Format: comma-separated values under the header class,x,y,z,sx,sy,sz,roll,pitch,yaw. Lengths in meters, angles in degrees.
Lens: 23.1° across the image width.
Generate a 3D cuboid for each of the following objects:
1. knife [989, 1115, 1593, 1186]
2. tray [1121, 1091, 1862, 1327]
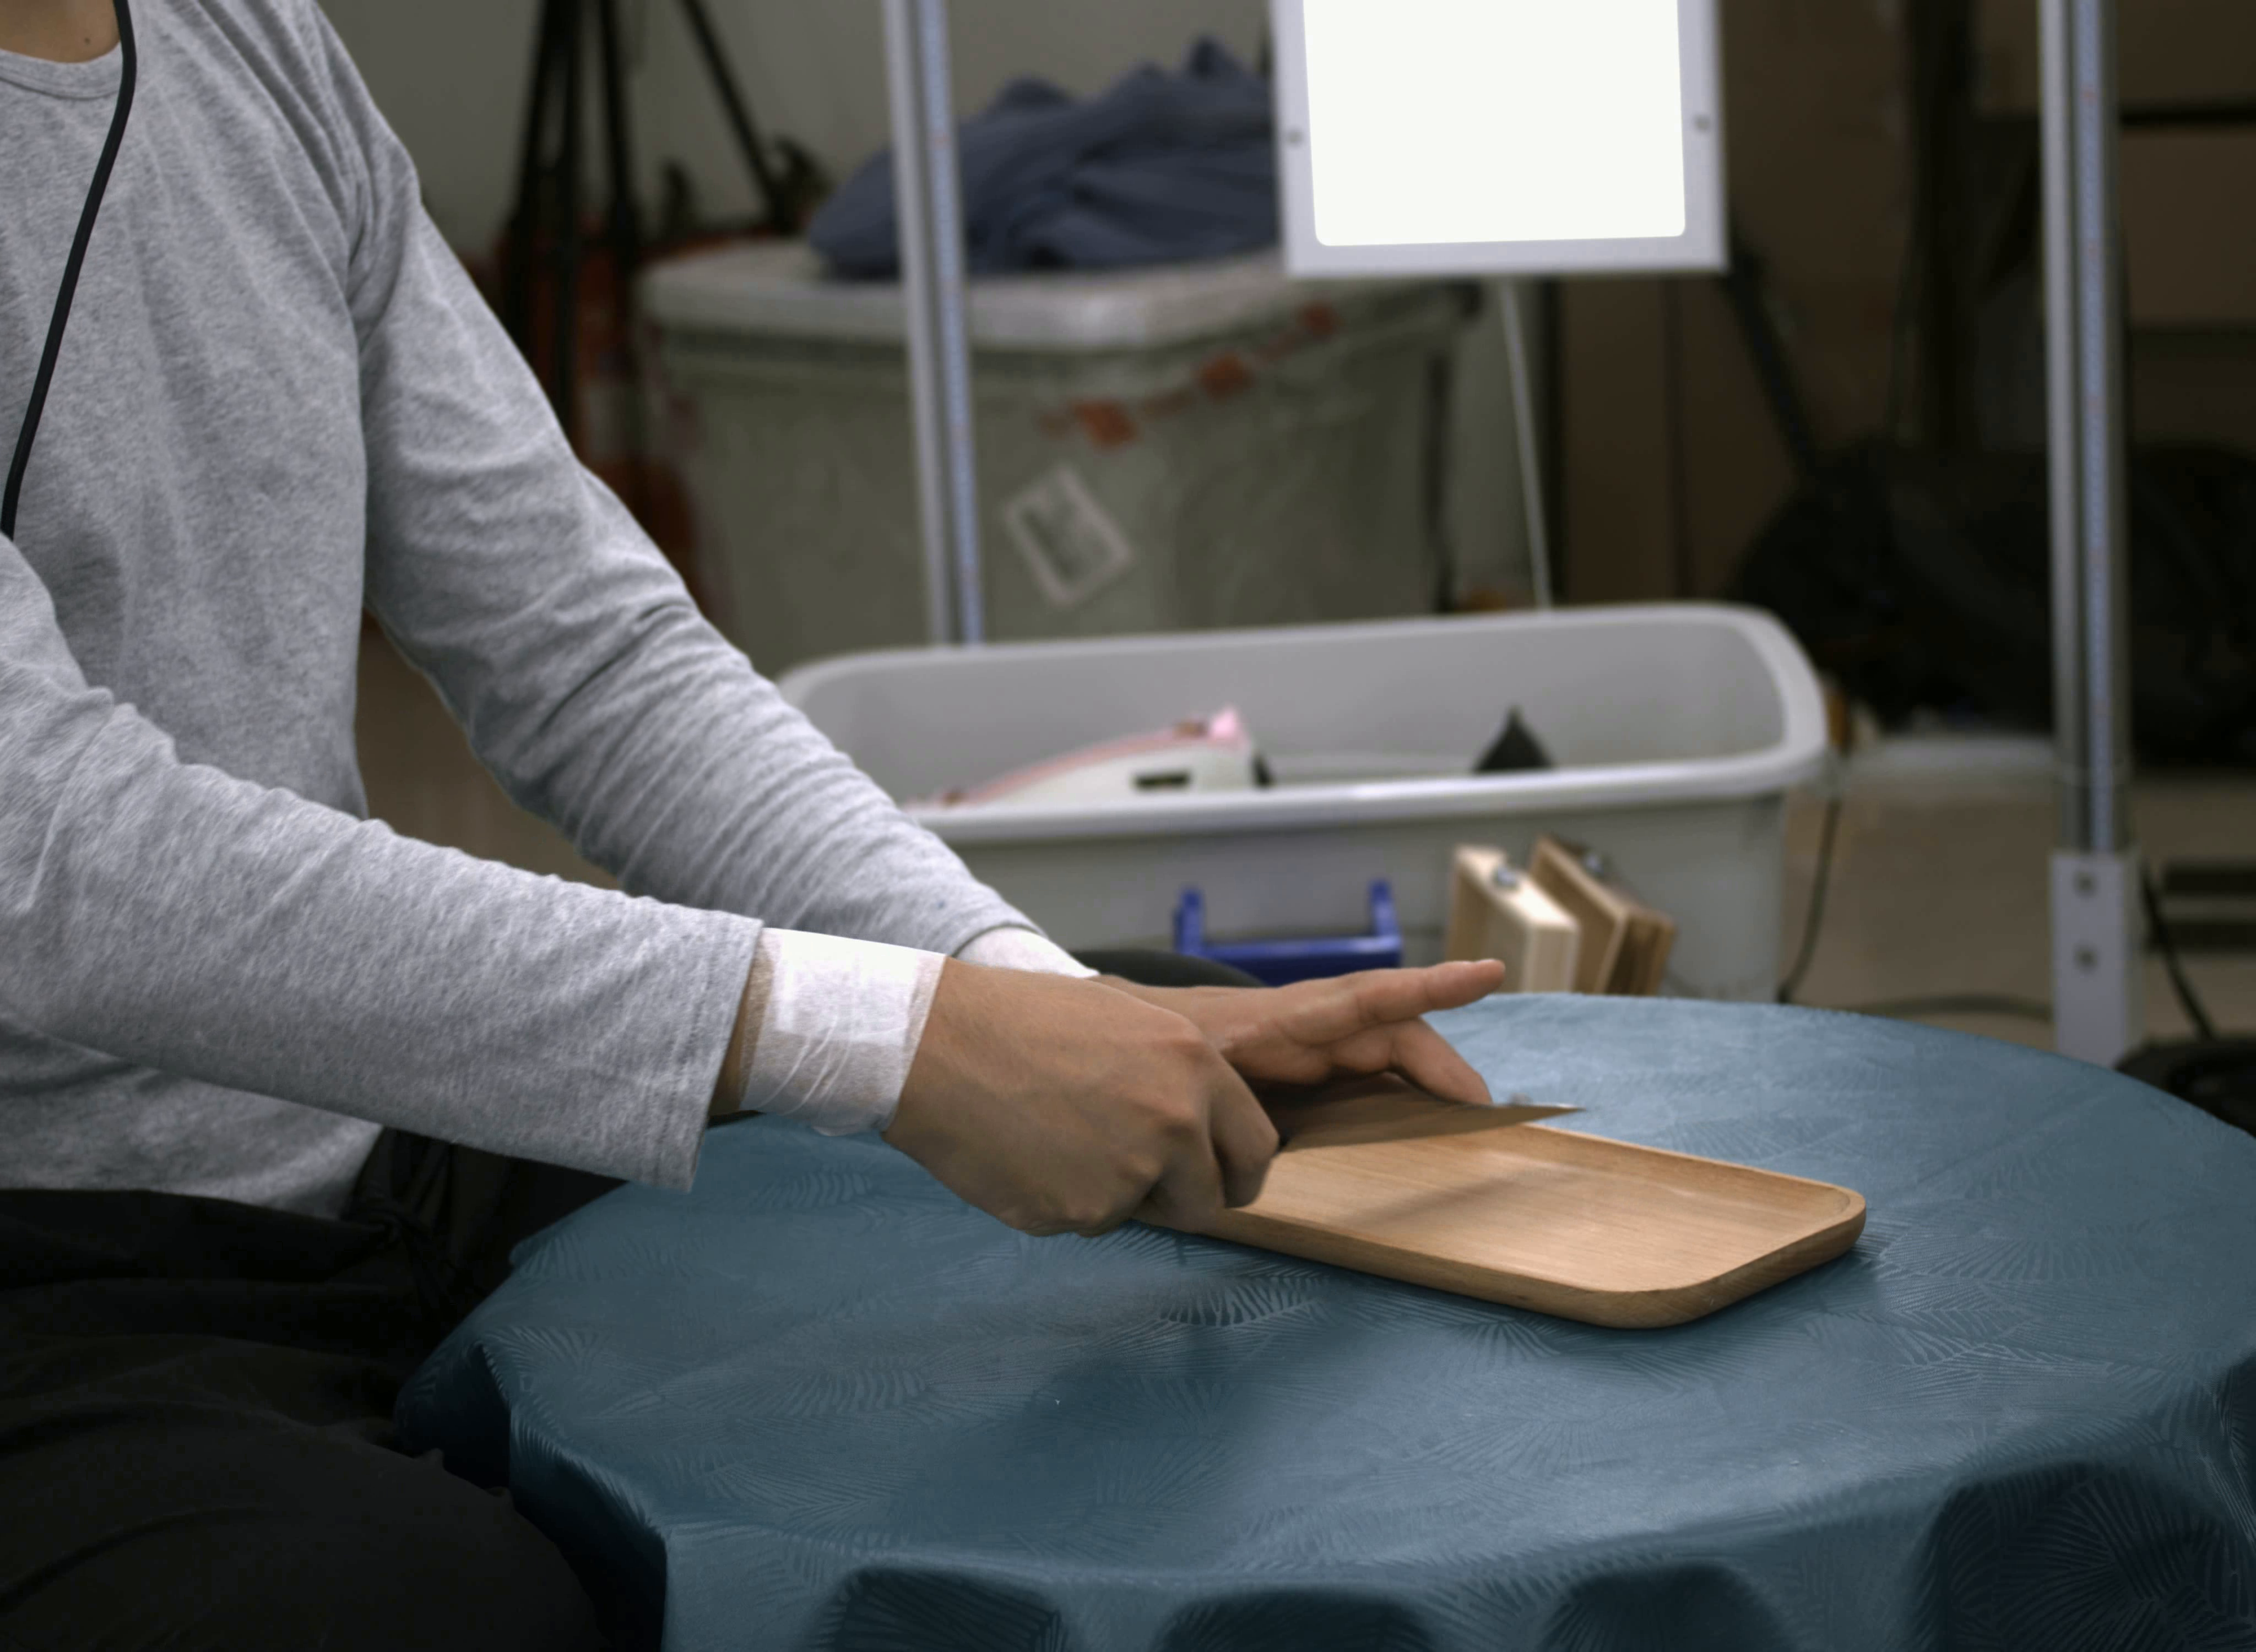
class,x,y,z,sx,sy,sz,roll,pitch,yaw
knife,0.060,0.102,1.802,0.232,0.016,0.025,-2,-28,-31
tray,0.119,0.126,1.829,0.127,0.023,0.256,-13,15,-41
